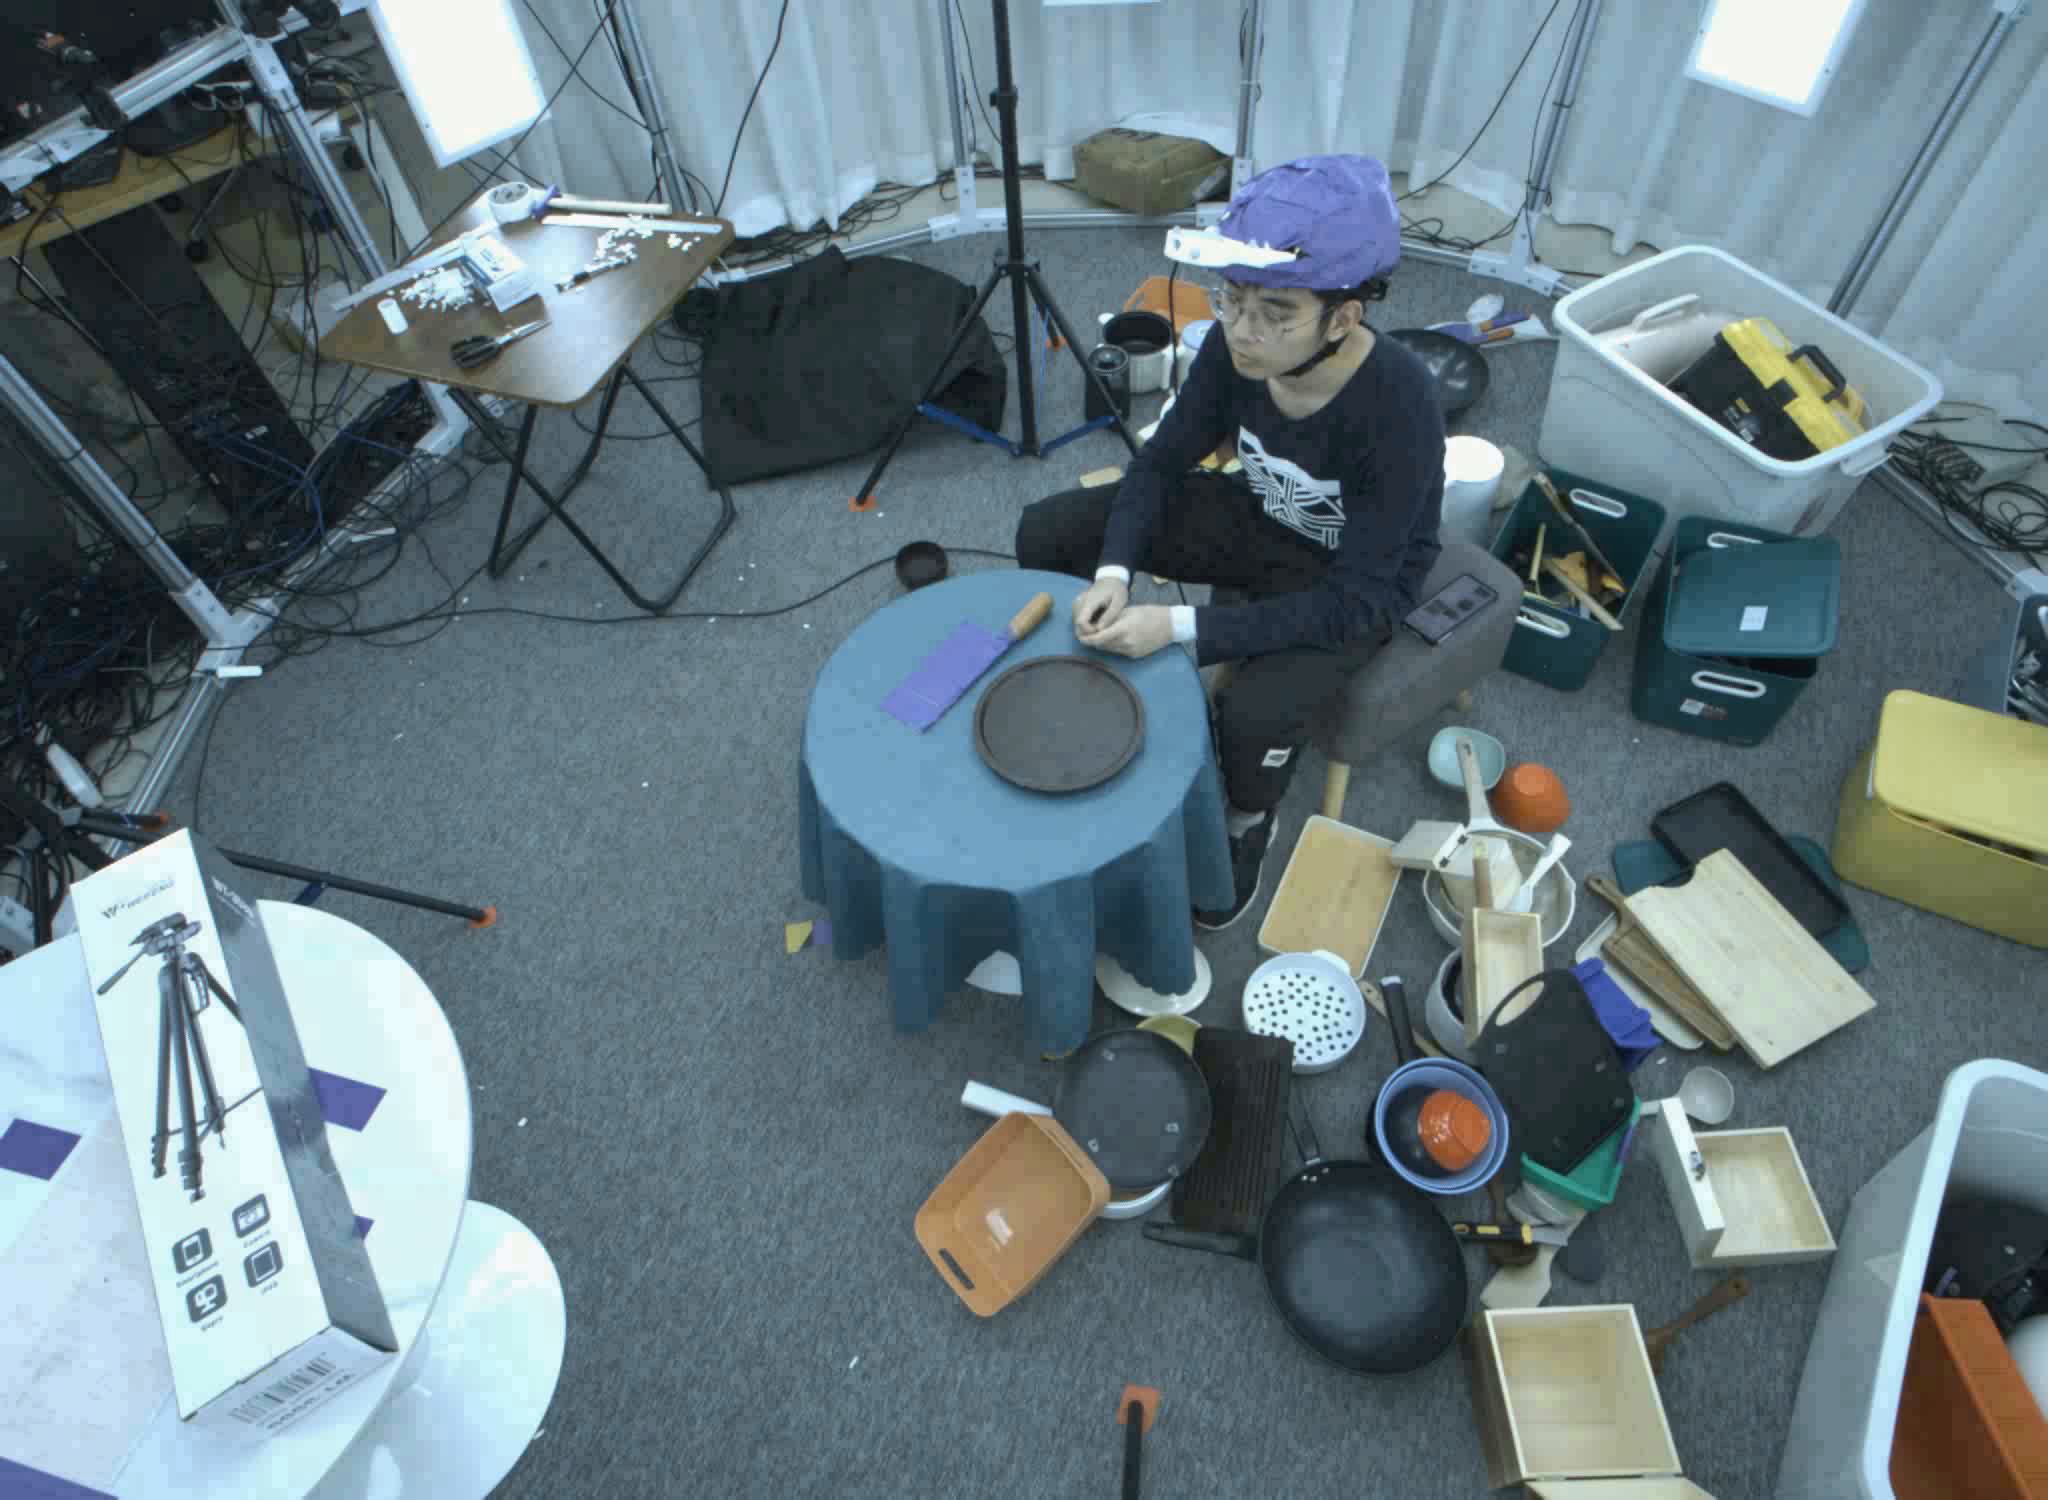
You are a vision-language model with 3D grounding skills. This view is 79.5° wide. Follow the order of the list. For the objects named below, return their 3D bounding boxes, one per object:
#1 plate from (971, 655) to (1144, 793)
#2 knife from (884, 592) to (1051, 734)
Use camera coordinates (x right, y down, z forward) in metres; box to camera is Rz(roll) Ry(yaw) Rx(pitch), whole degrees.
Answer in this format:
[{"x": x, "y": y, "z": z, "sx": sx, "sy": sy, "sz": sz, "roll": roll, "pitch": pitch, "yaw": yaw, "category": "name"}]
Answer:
[{"x": 0.049, "y": -0.040, "z": 1.808, "sx": 0.254, "sy": 0.029, "sz": 0.252, "roll": 0, "pitch": 55, "yaw": 1, "category": "plate"}, {"x": -0.088, "y": -0.151, "z": 1.889, "sx": 0.102, "sy": 0.032, "sz": 0.317, "roll": 32, "pitch": 62, "yaw": 22, "category": "knife"}]
